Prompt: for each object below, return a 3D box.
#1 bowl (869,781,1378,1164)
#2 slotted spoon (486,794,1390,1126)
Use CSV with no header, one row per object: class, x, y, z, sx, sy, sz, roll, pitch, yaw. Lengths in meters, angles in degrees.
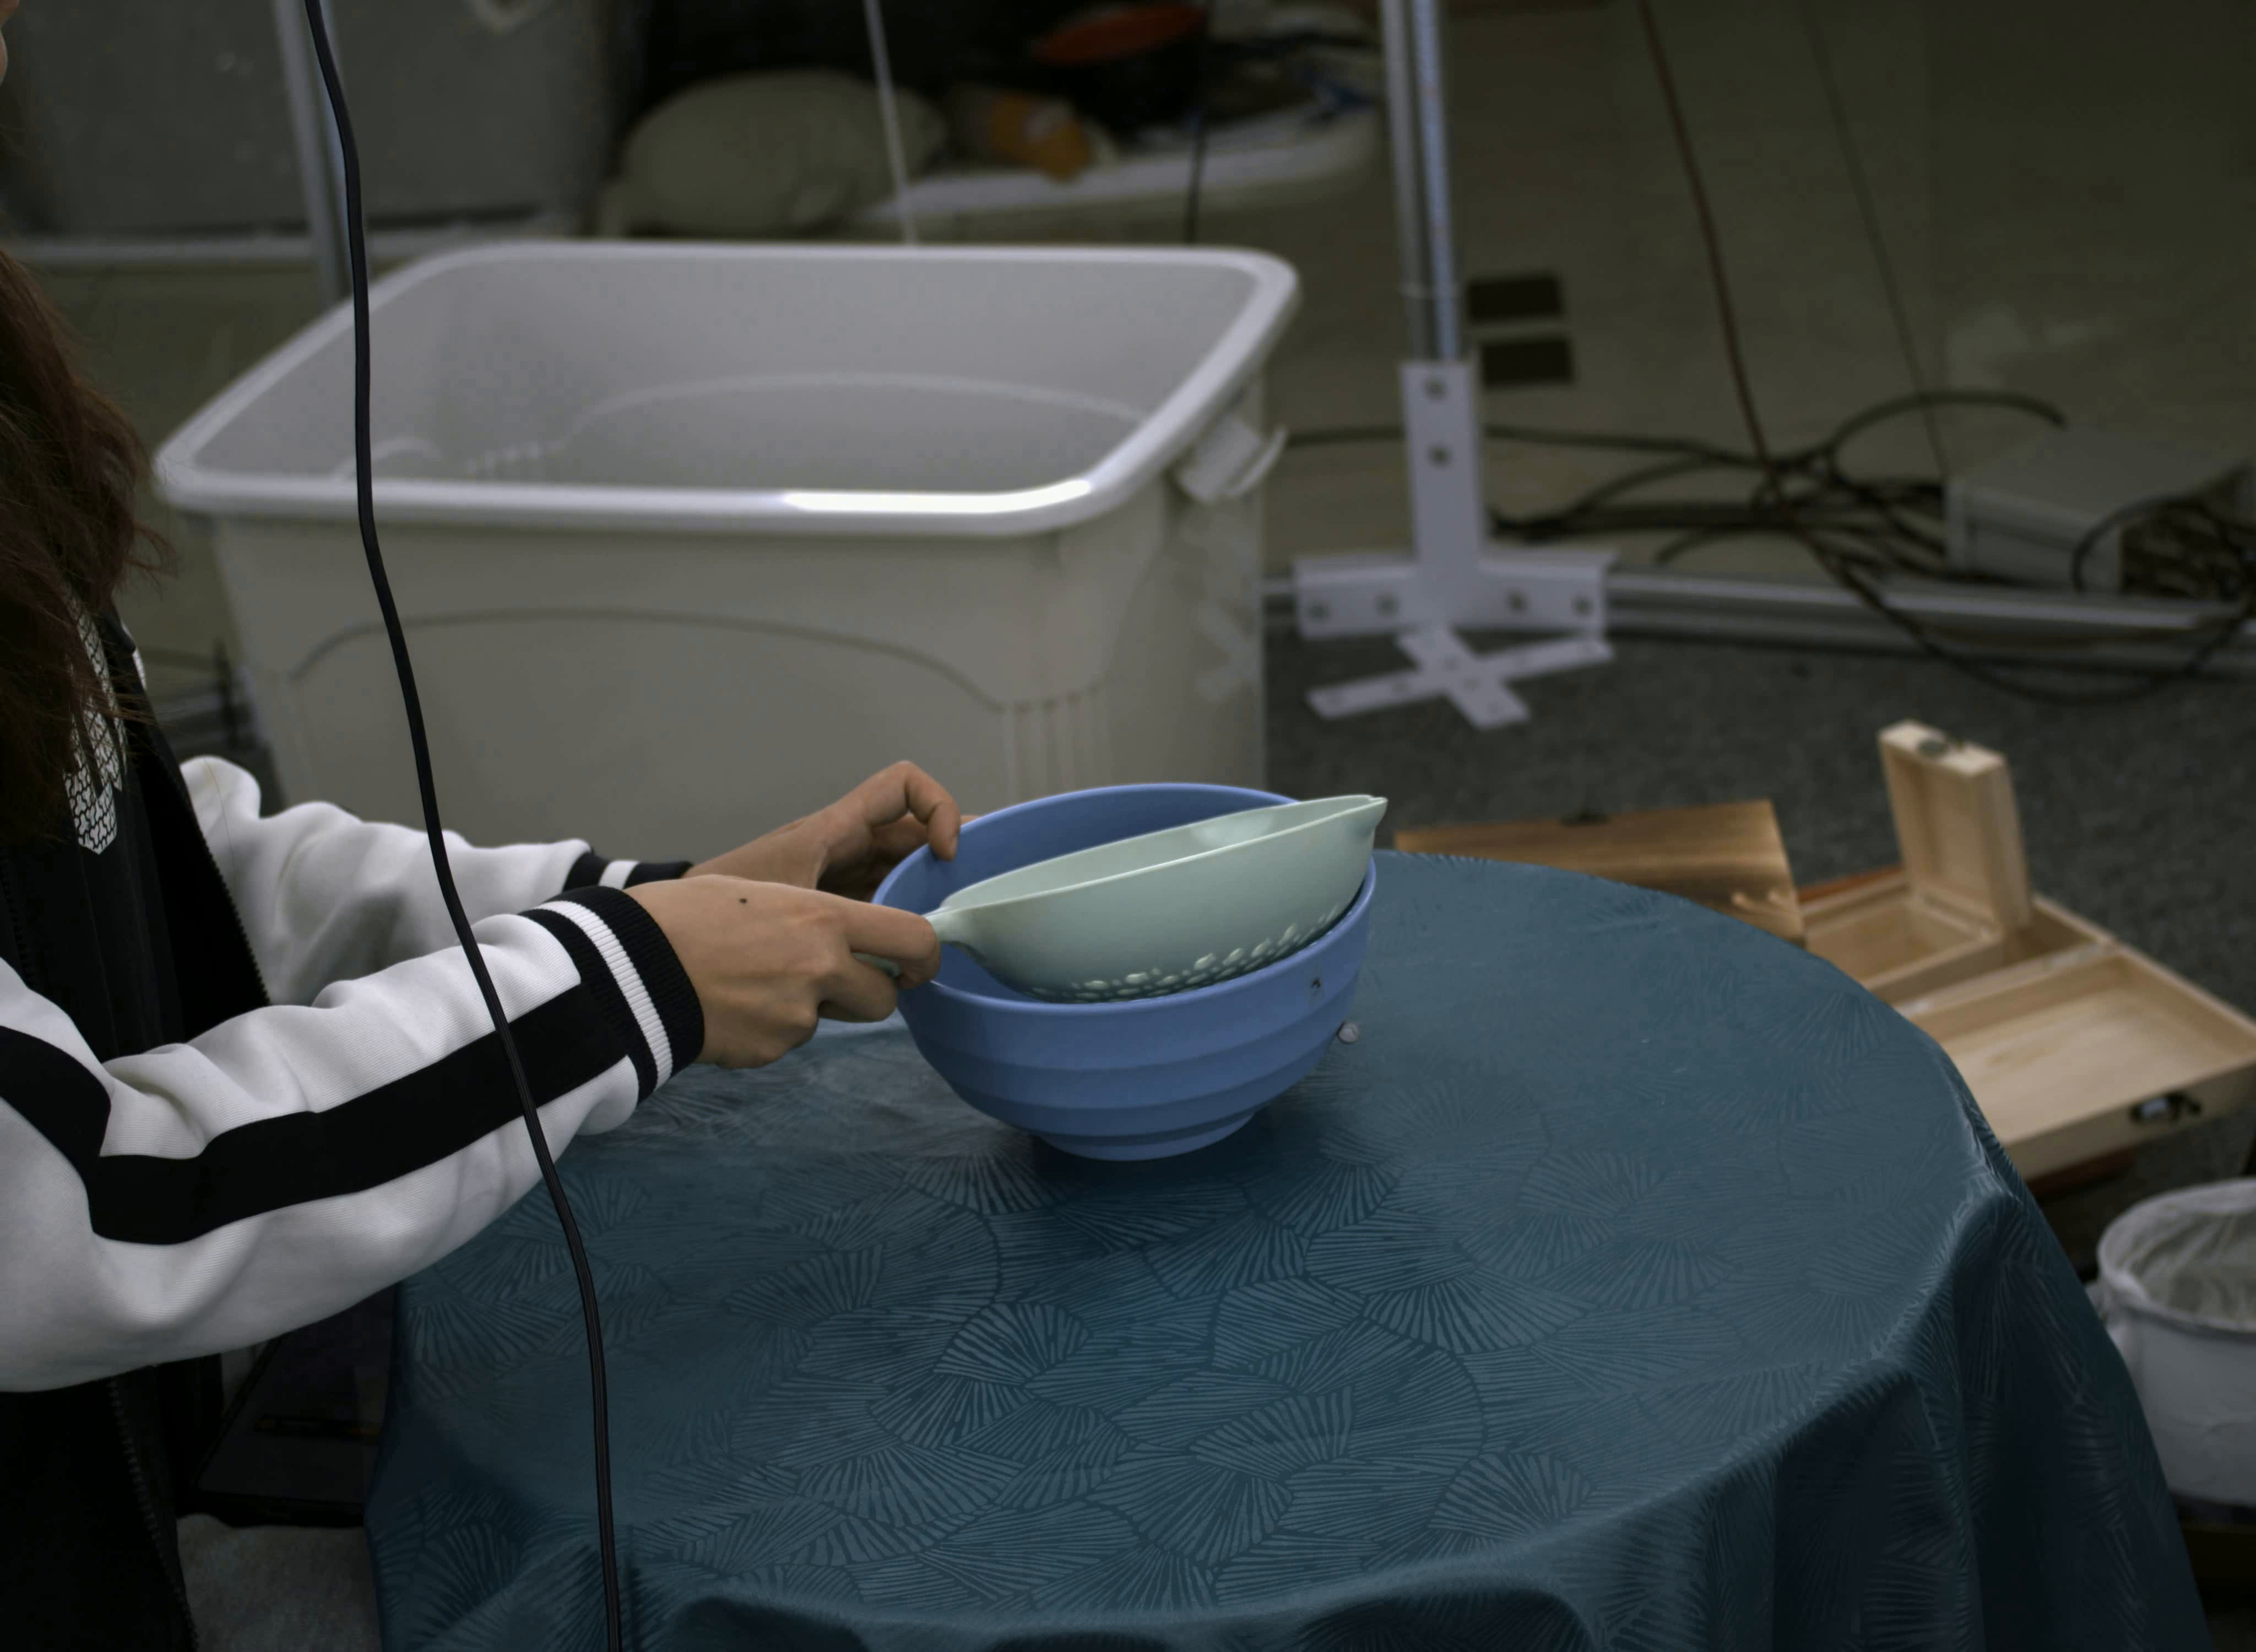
bowl,0.003,0.067,2.188,0.196,0.097,0.193,-5,26,3
slotted spoon,-0.071,0.048,2.115,0.358,0.075,0.169,-8,1,-22
